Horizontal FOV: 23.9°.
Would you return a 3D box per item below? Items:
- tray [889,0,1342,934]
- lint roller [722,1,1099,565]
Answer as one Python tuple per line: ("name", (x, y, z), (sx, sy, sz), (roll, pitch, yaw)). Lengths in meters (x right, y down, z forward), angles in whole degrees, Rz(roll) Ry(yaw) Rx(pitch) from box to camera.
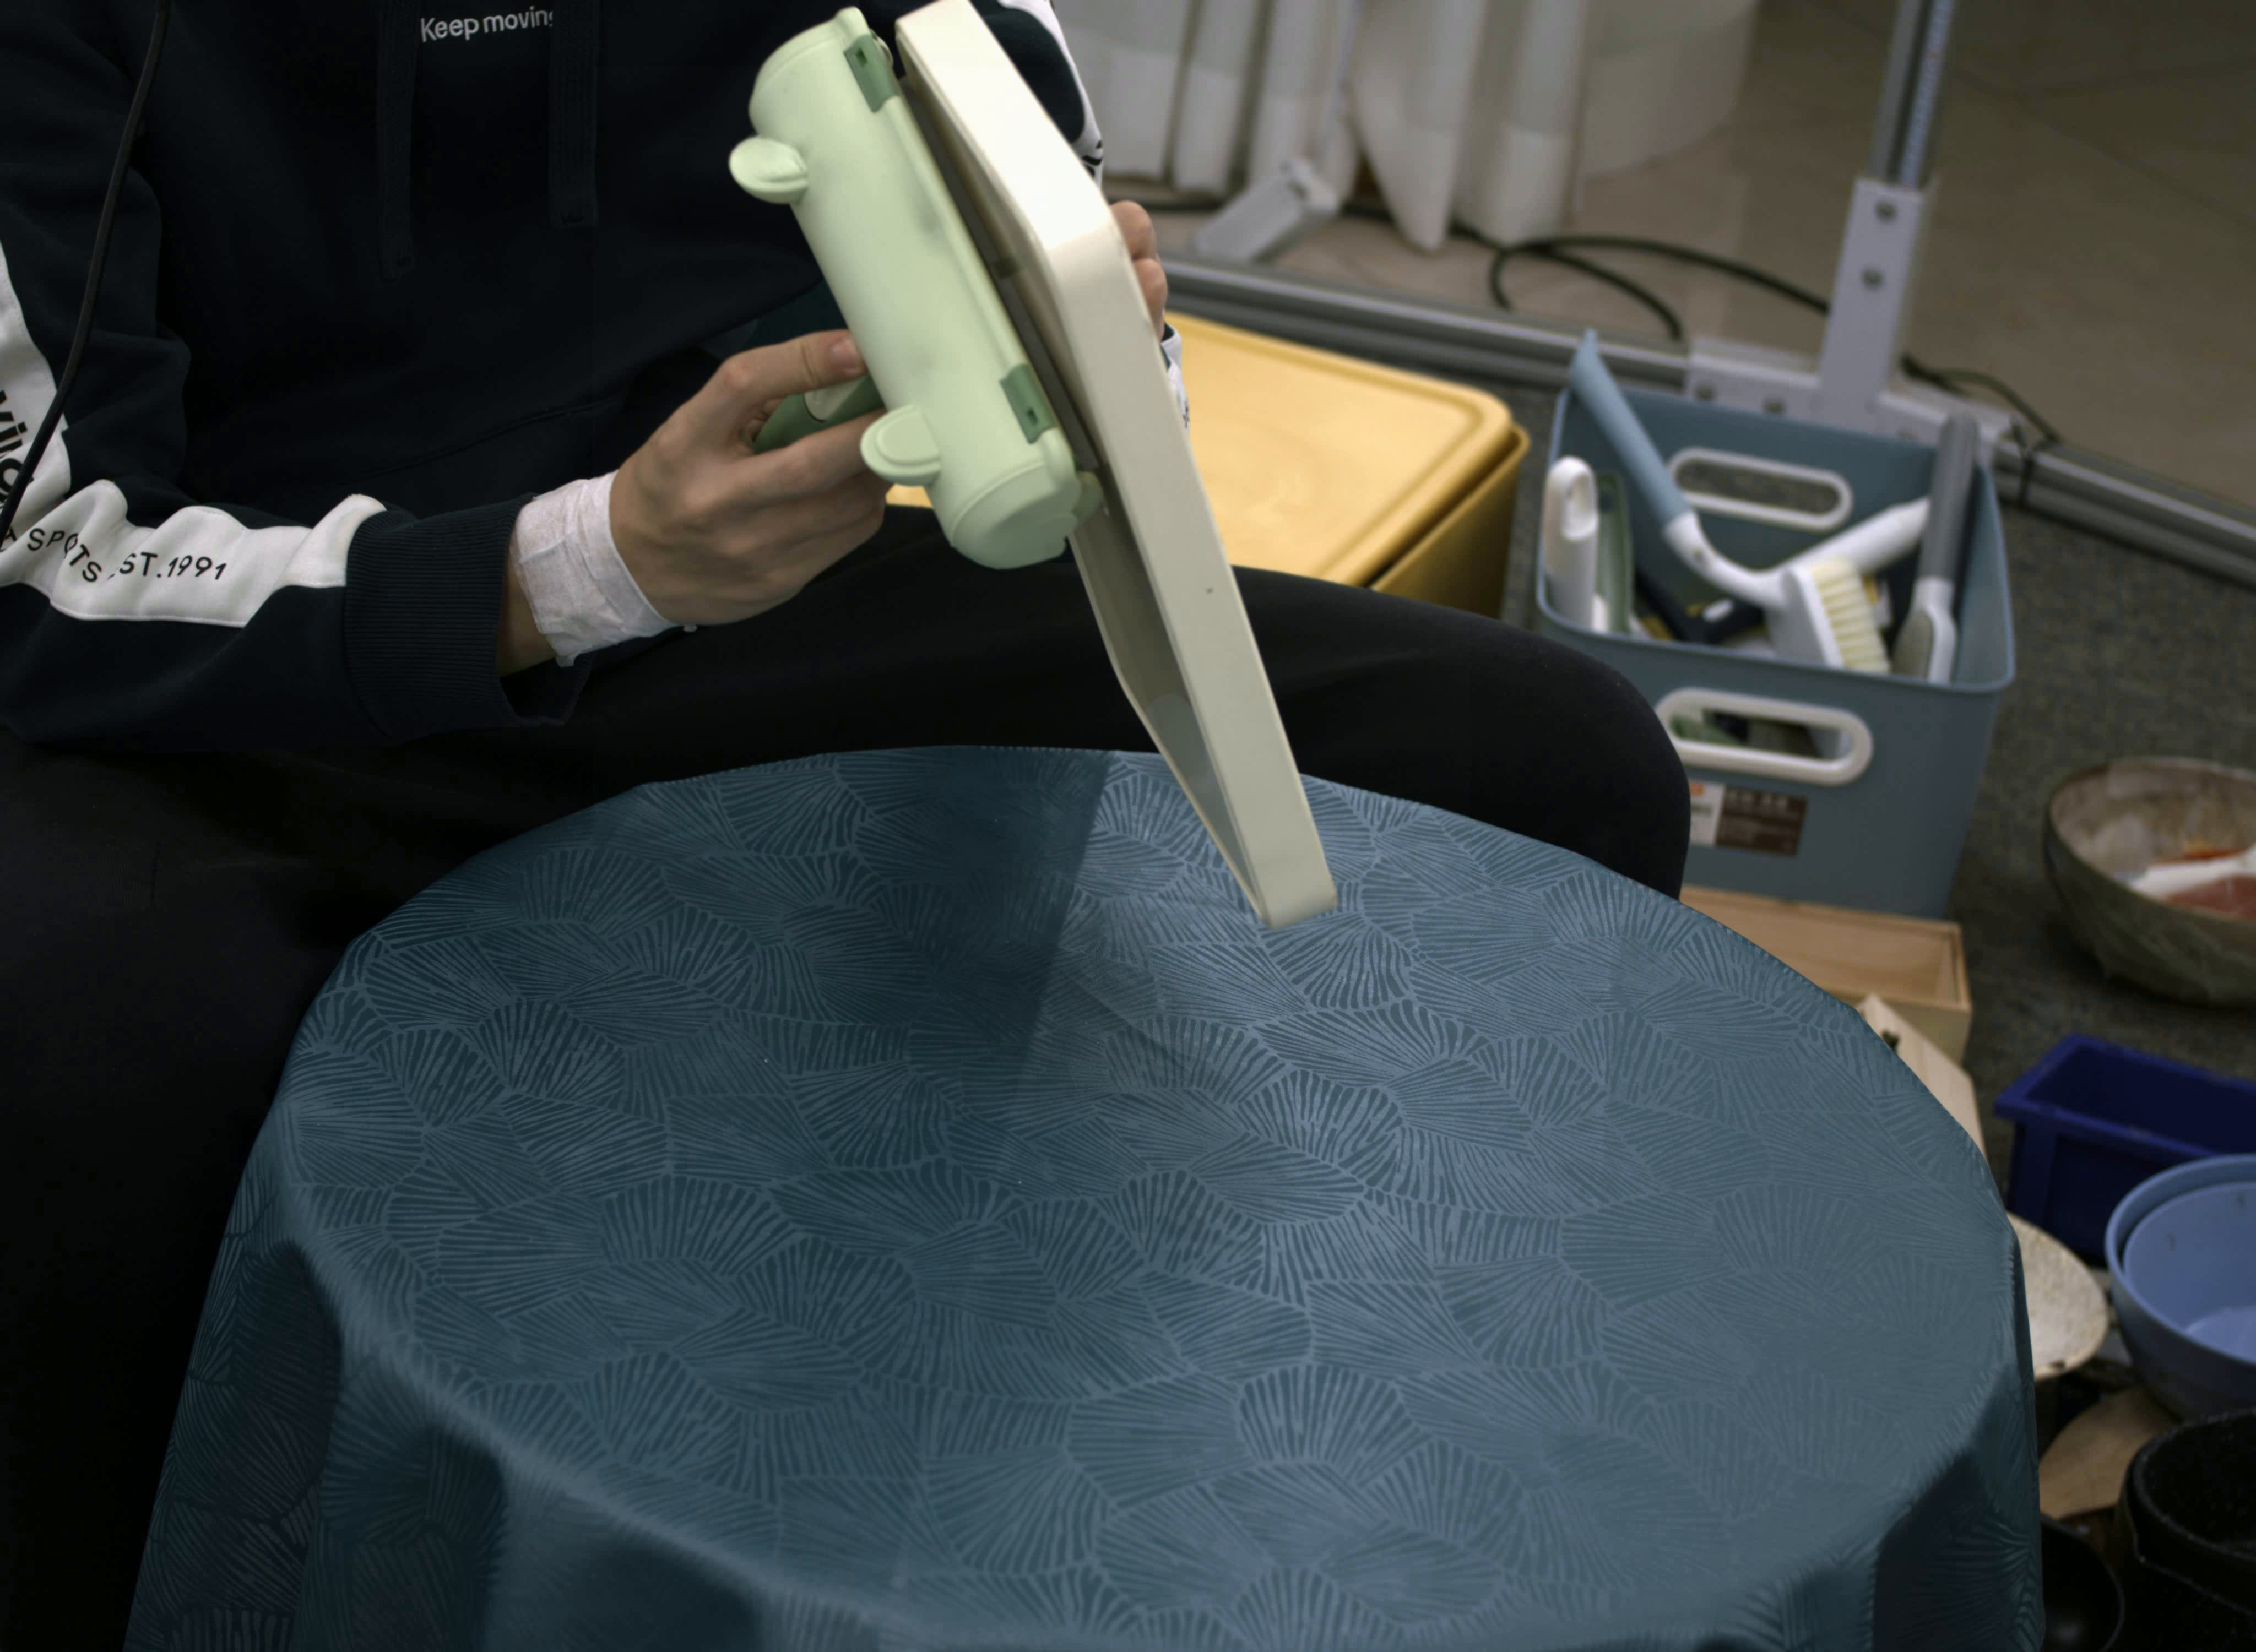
("tray", (-0.004, -0.121, 1.818), (0.027, 0.298, 0.193), (-23, 35, -5))
("lint roller", (-0.105, -0.151, 1.816), (0.081, 0.183, 0.200), (-5, 61, -41))
